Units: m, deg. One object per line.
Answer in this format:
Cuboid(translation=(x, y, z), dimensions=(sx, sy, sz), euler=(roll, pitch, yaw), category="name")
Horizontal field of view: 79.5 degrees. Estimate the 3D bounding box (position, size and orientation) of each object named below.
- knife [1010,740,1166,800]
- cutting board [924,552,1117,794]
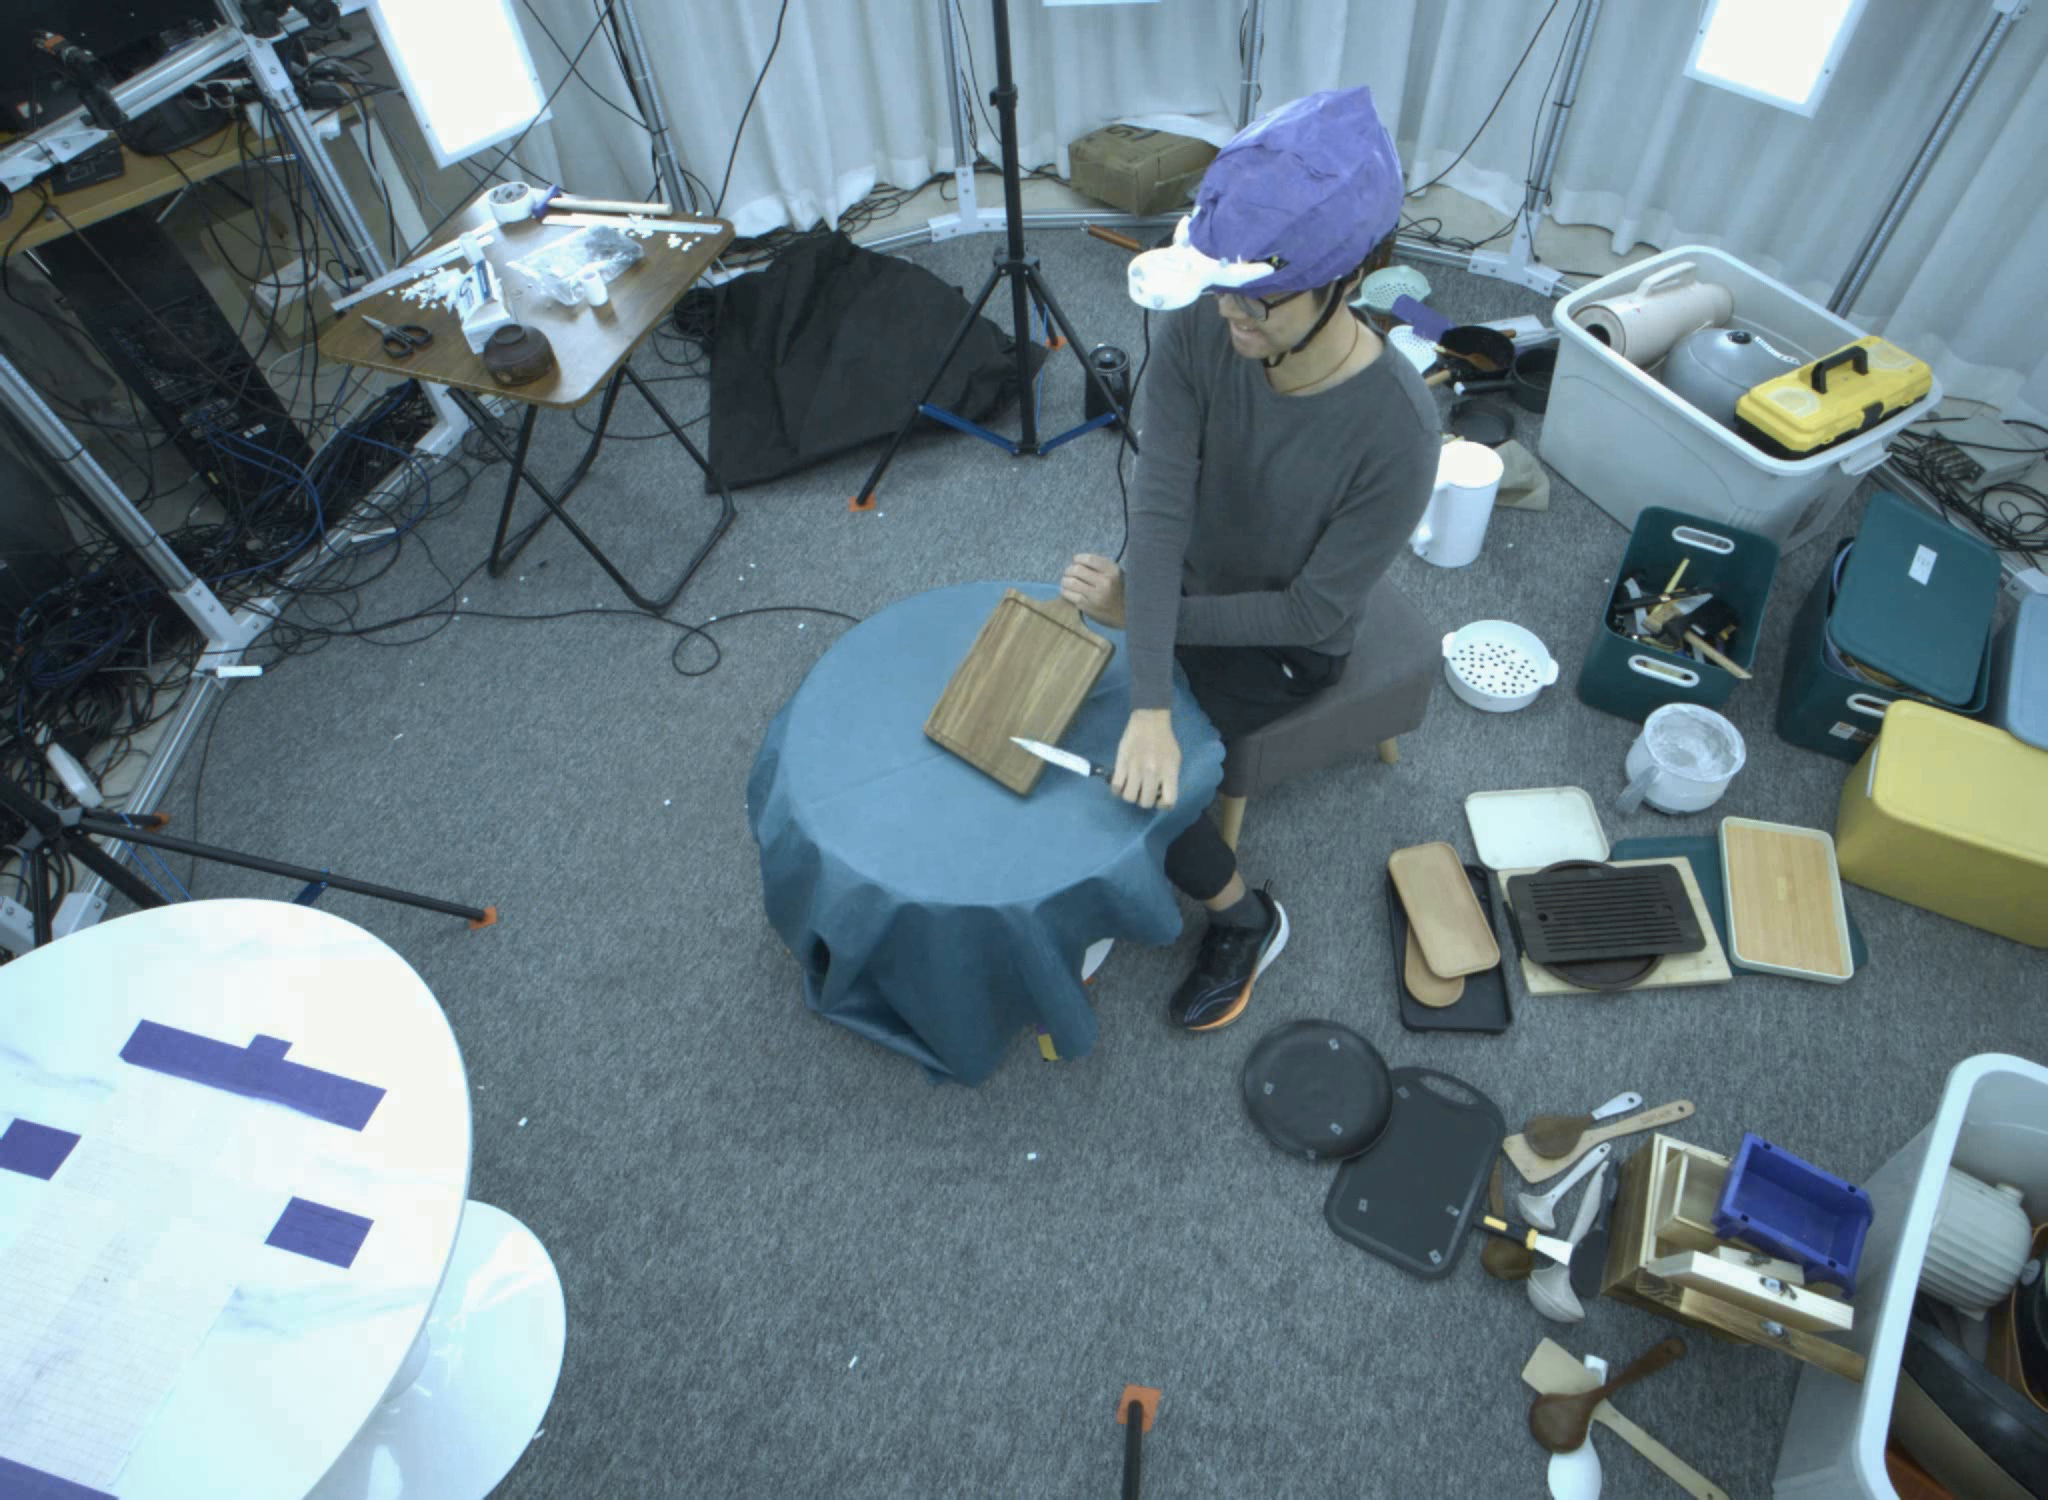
Cuboid(translation=(0.087, 0.022, 1.713), dimensions=(0.235, 0.016, 0.024), euler=(19, 96, 15), category="knife")
Cuboid(translation=(0.017, -0.130, 1.774), dimensions=(0.198, 0.023, 0.352), euler=(31, 89, 21), category="cutting board")
